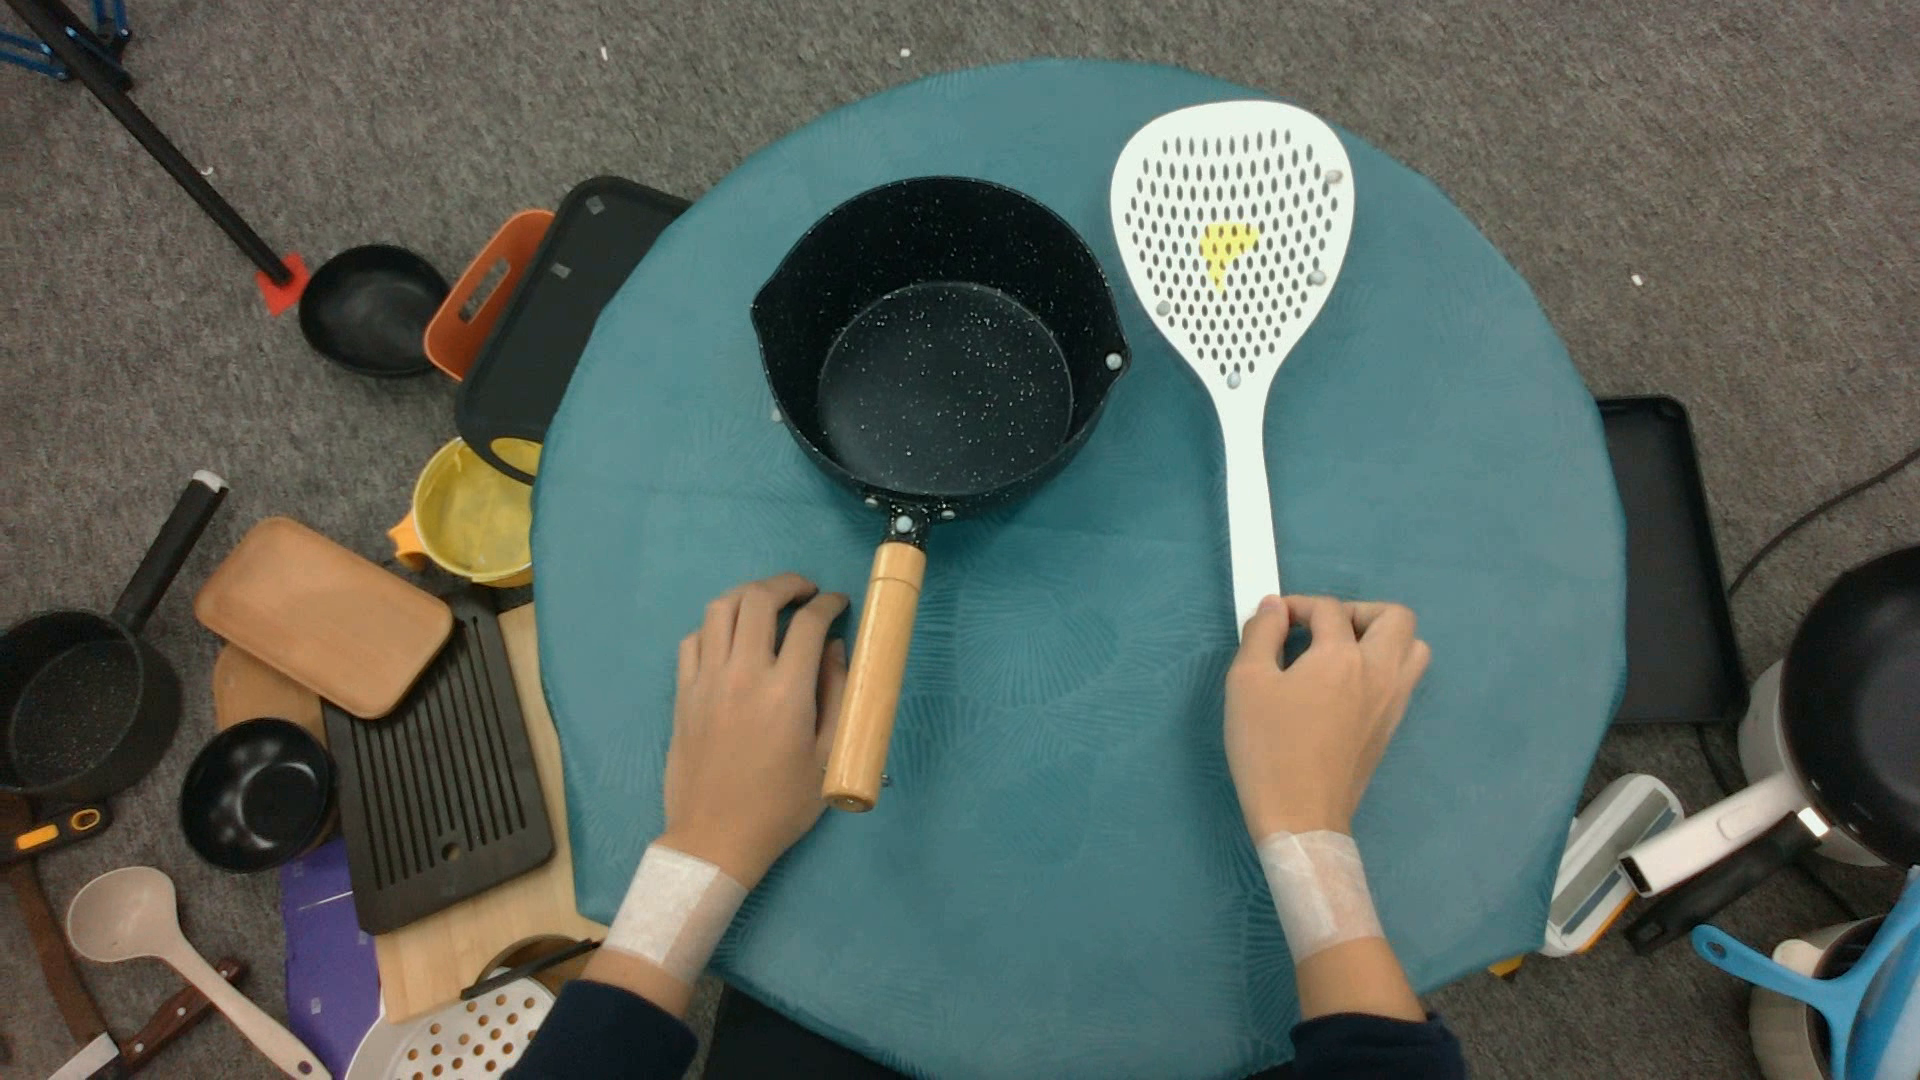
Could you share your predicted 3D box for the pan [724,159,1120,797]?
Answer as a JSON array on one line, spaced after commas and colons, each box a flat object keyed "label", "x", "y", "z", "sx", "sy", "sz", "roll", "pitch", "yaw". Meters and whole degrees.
[{"label": "pan", "x": -0.030, "y": -0.031, "z": 0.708, "sx": 0.207, "sy": 0.108, "sz": 0.344, "roll": 7, "pitch": 70, "yaw": 2}]

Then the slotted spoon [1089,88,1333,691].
[{"label": "slotted spoon", "x": 0.147, "y": -0.092, "z": 0.760, "sx": 0.137, "sy": 0.050, "sz": 0.349, "roll": -3, "pitch": 70, "yaw": 5}]
